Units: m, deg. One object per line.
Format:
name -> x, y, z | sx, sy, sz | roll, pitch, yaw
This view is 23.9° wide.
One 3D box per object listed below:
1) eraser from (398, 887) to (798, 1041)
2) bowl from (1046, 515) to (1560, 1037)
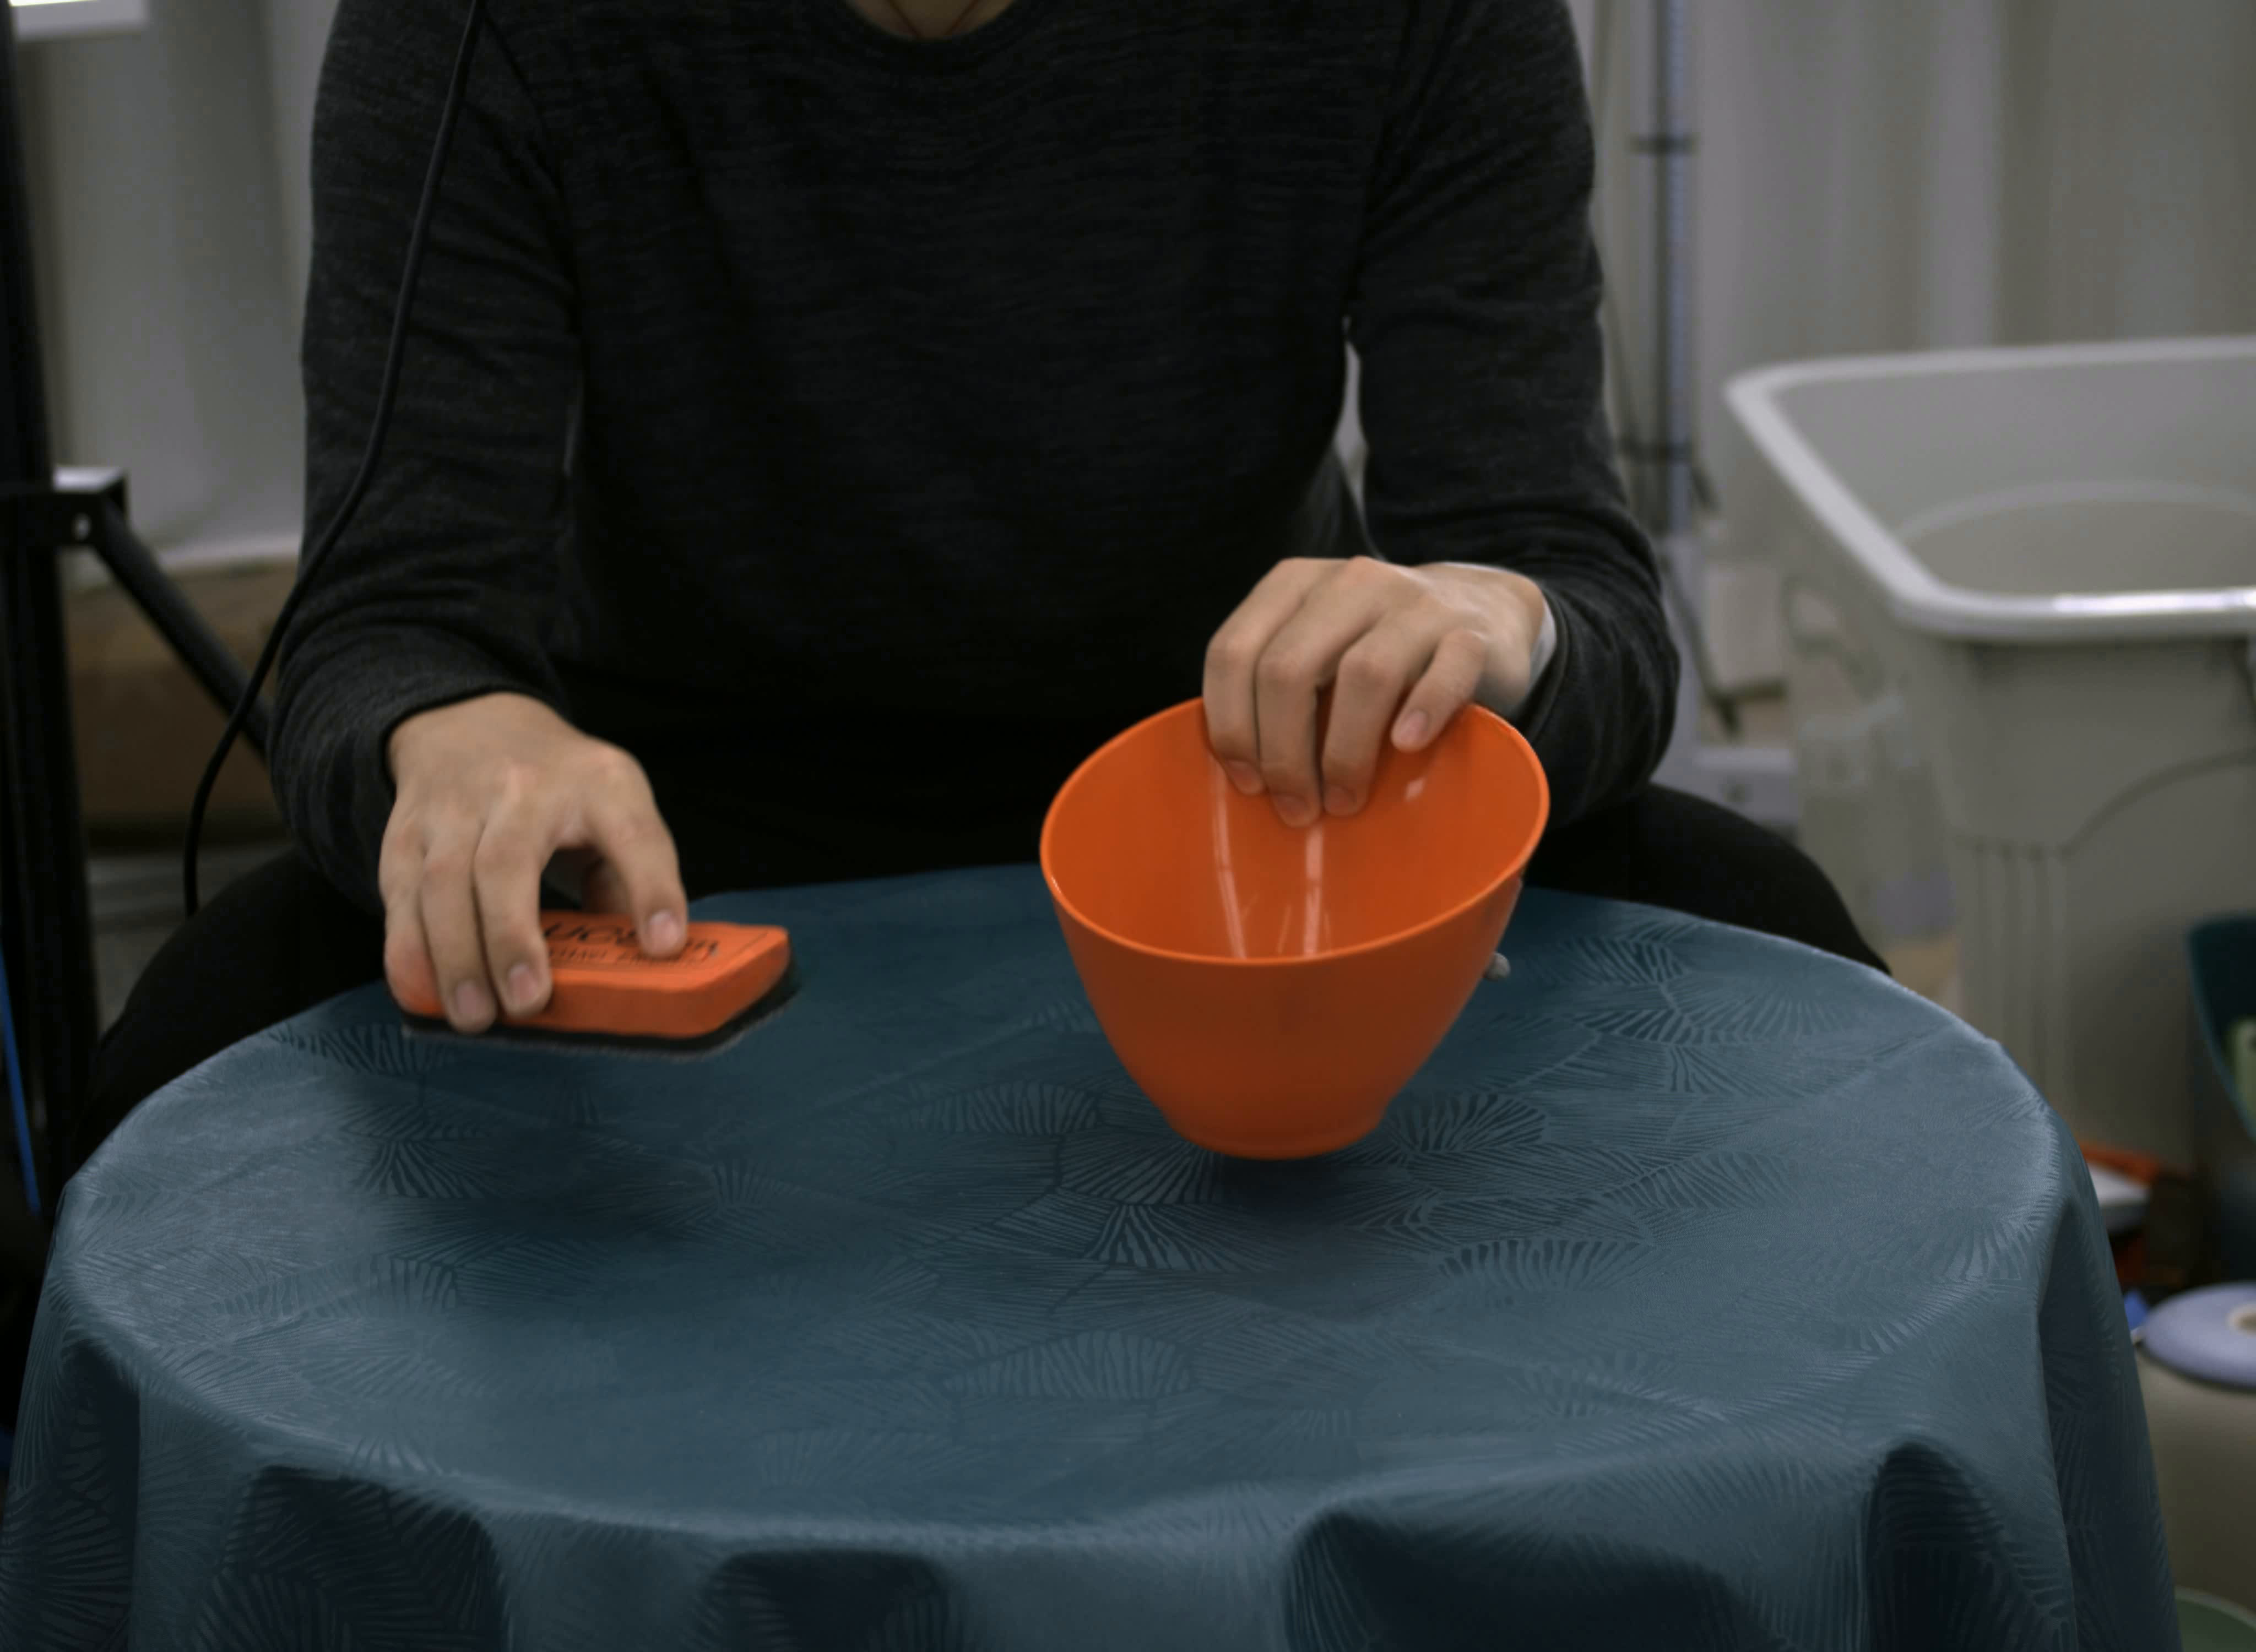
eraser -> -0.153, 0.039, 1.542 | 0.110, 0.023, 0.058 | 4, 20, 28
bowl -> 0.043, -0.002, 1.544 | 0.146, 0.104, 0.150 | 5, 52, -8
